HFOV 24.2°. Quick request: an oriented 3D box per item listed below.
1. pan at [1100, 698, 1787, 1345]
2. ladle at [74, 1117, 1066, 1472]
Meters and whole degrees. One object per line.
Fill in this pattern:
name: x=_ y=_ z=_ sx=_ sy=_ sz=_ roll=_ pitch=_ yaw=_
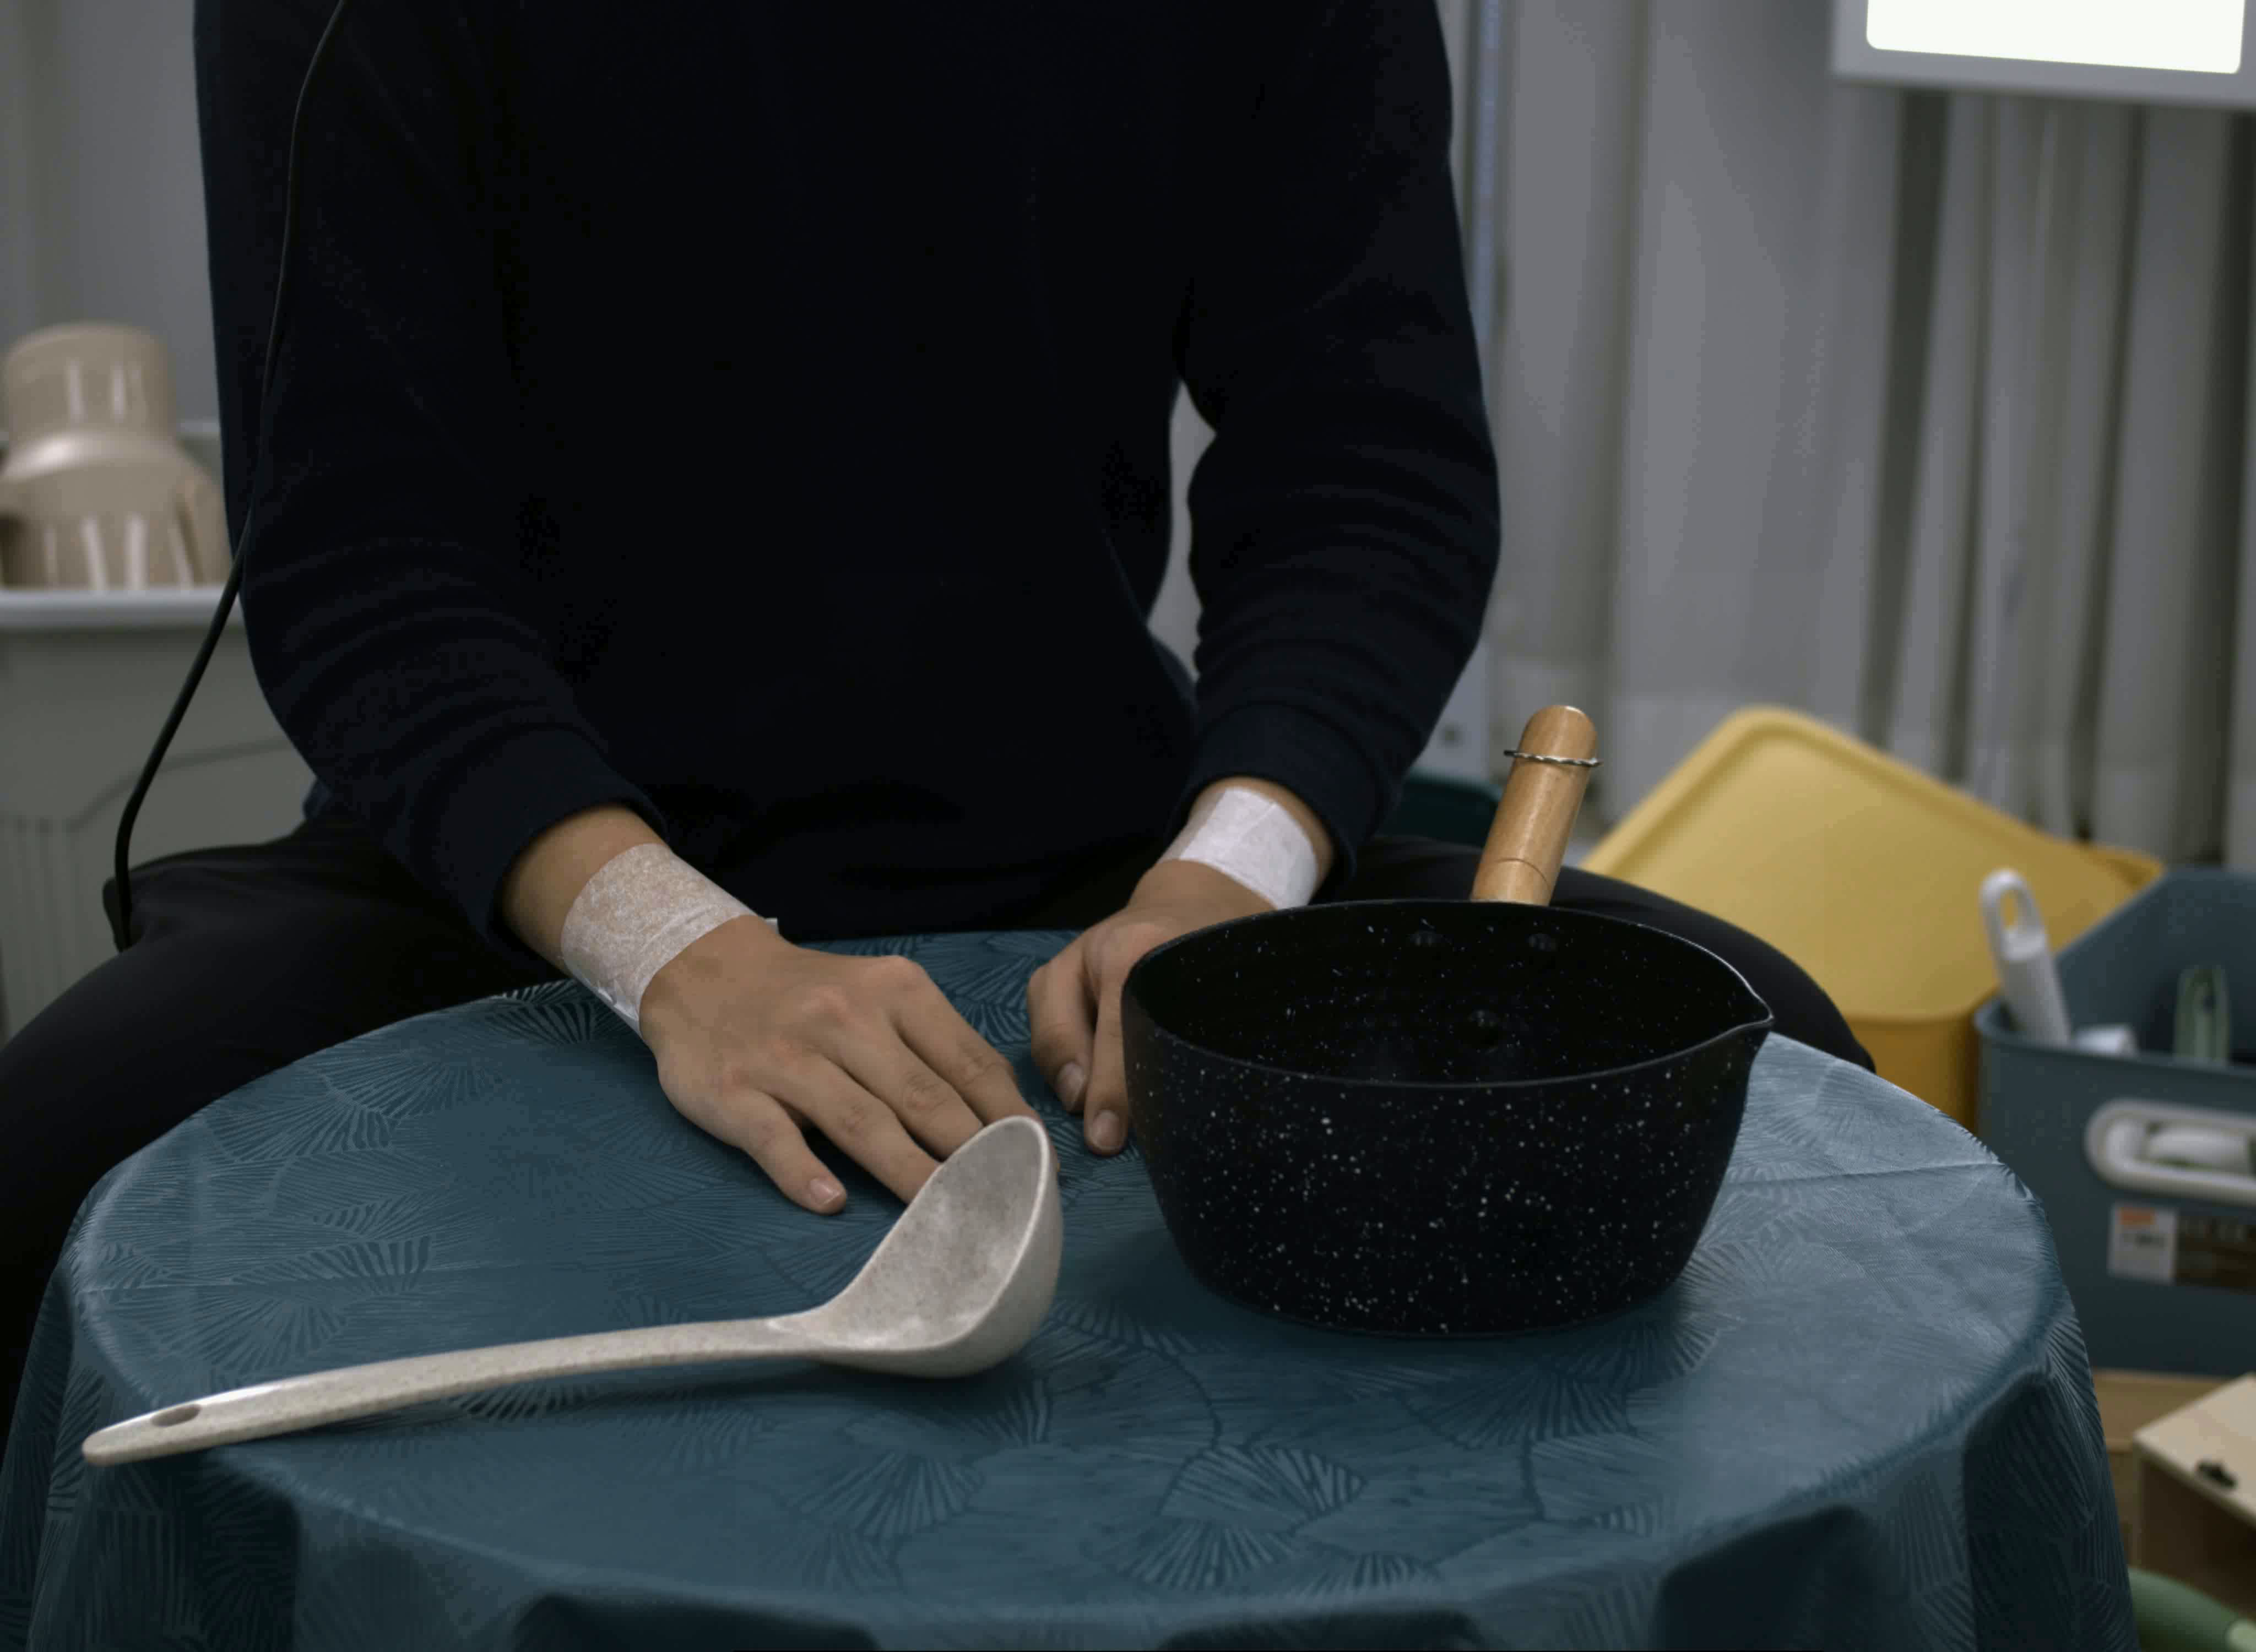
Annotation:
pan: x=0.107 y=0.055 z=1.630 sx=0.206 sy=0.109 sz=0.342 roll=2 pitch=17 yaw=11
ladle: x=-0.151 y=0.128 z=1.443 sx=0.275 sy=0.070 sz=0.088 roll=-5 pitch=23 yaw=-15
